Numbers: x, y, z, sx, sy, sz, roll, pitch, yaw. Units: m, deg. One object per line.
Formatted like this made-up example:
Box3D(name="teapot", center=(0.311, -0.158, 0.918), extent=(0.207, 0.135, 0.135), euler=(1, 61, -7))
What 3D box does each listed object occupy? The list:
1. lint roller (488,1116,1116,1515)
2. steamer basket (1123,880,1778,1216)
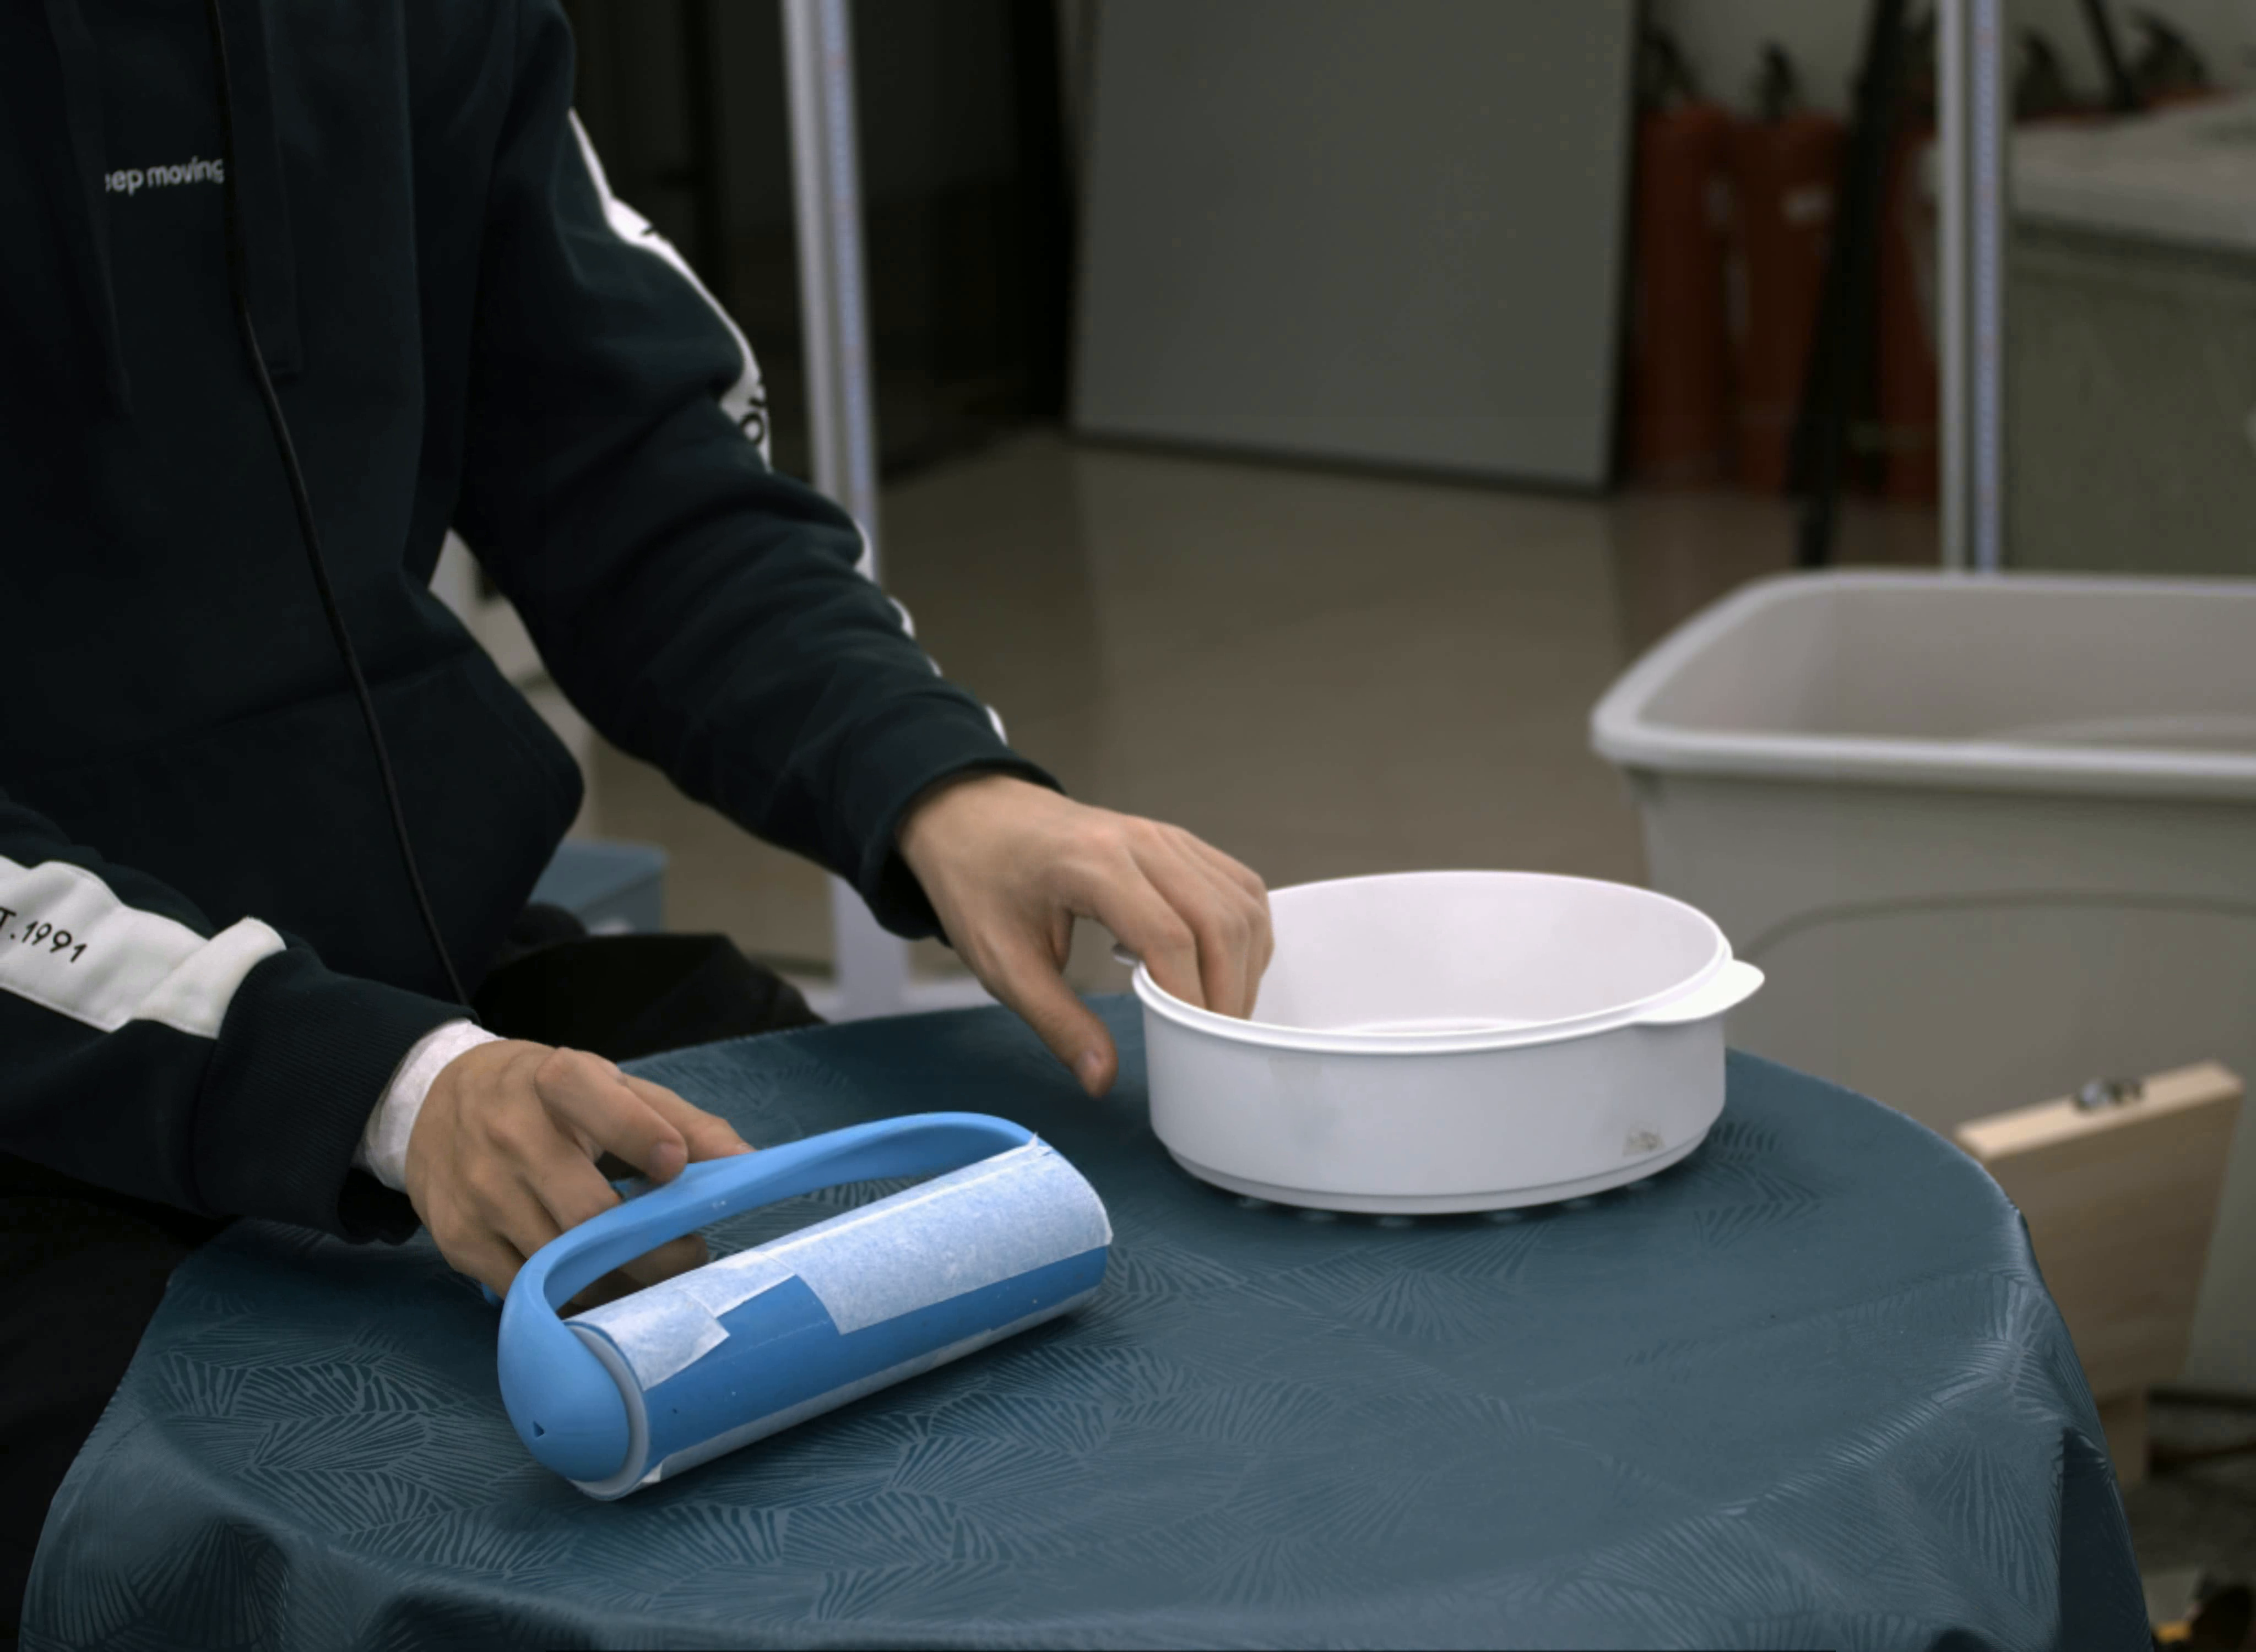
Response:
Box3D(name="lint roller", center=(-0.130, 0.138, 1.626), extent=(0.181, 0.068, 0.225), euler=(8, 20, 38))
Box3D(name="steamer basket", center=(0.107, 0.073, 1.790), extent=(0.232, 0.070, 0.198), euler=(4, 15, 32))
